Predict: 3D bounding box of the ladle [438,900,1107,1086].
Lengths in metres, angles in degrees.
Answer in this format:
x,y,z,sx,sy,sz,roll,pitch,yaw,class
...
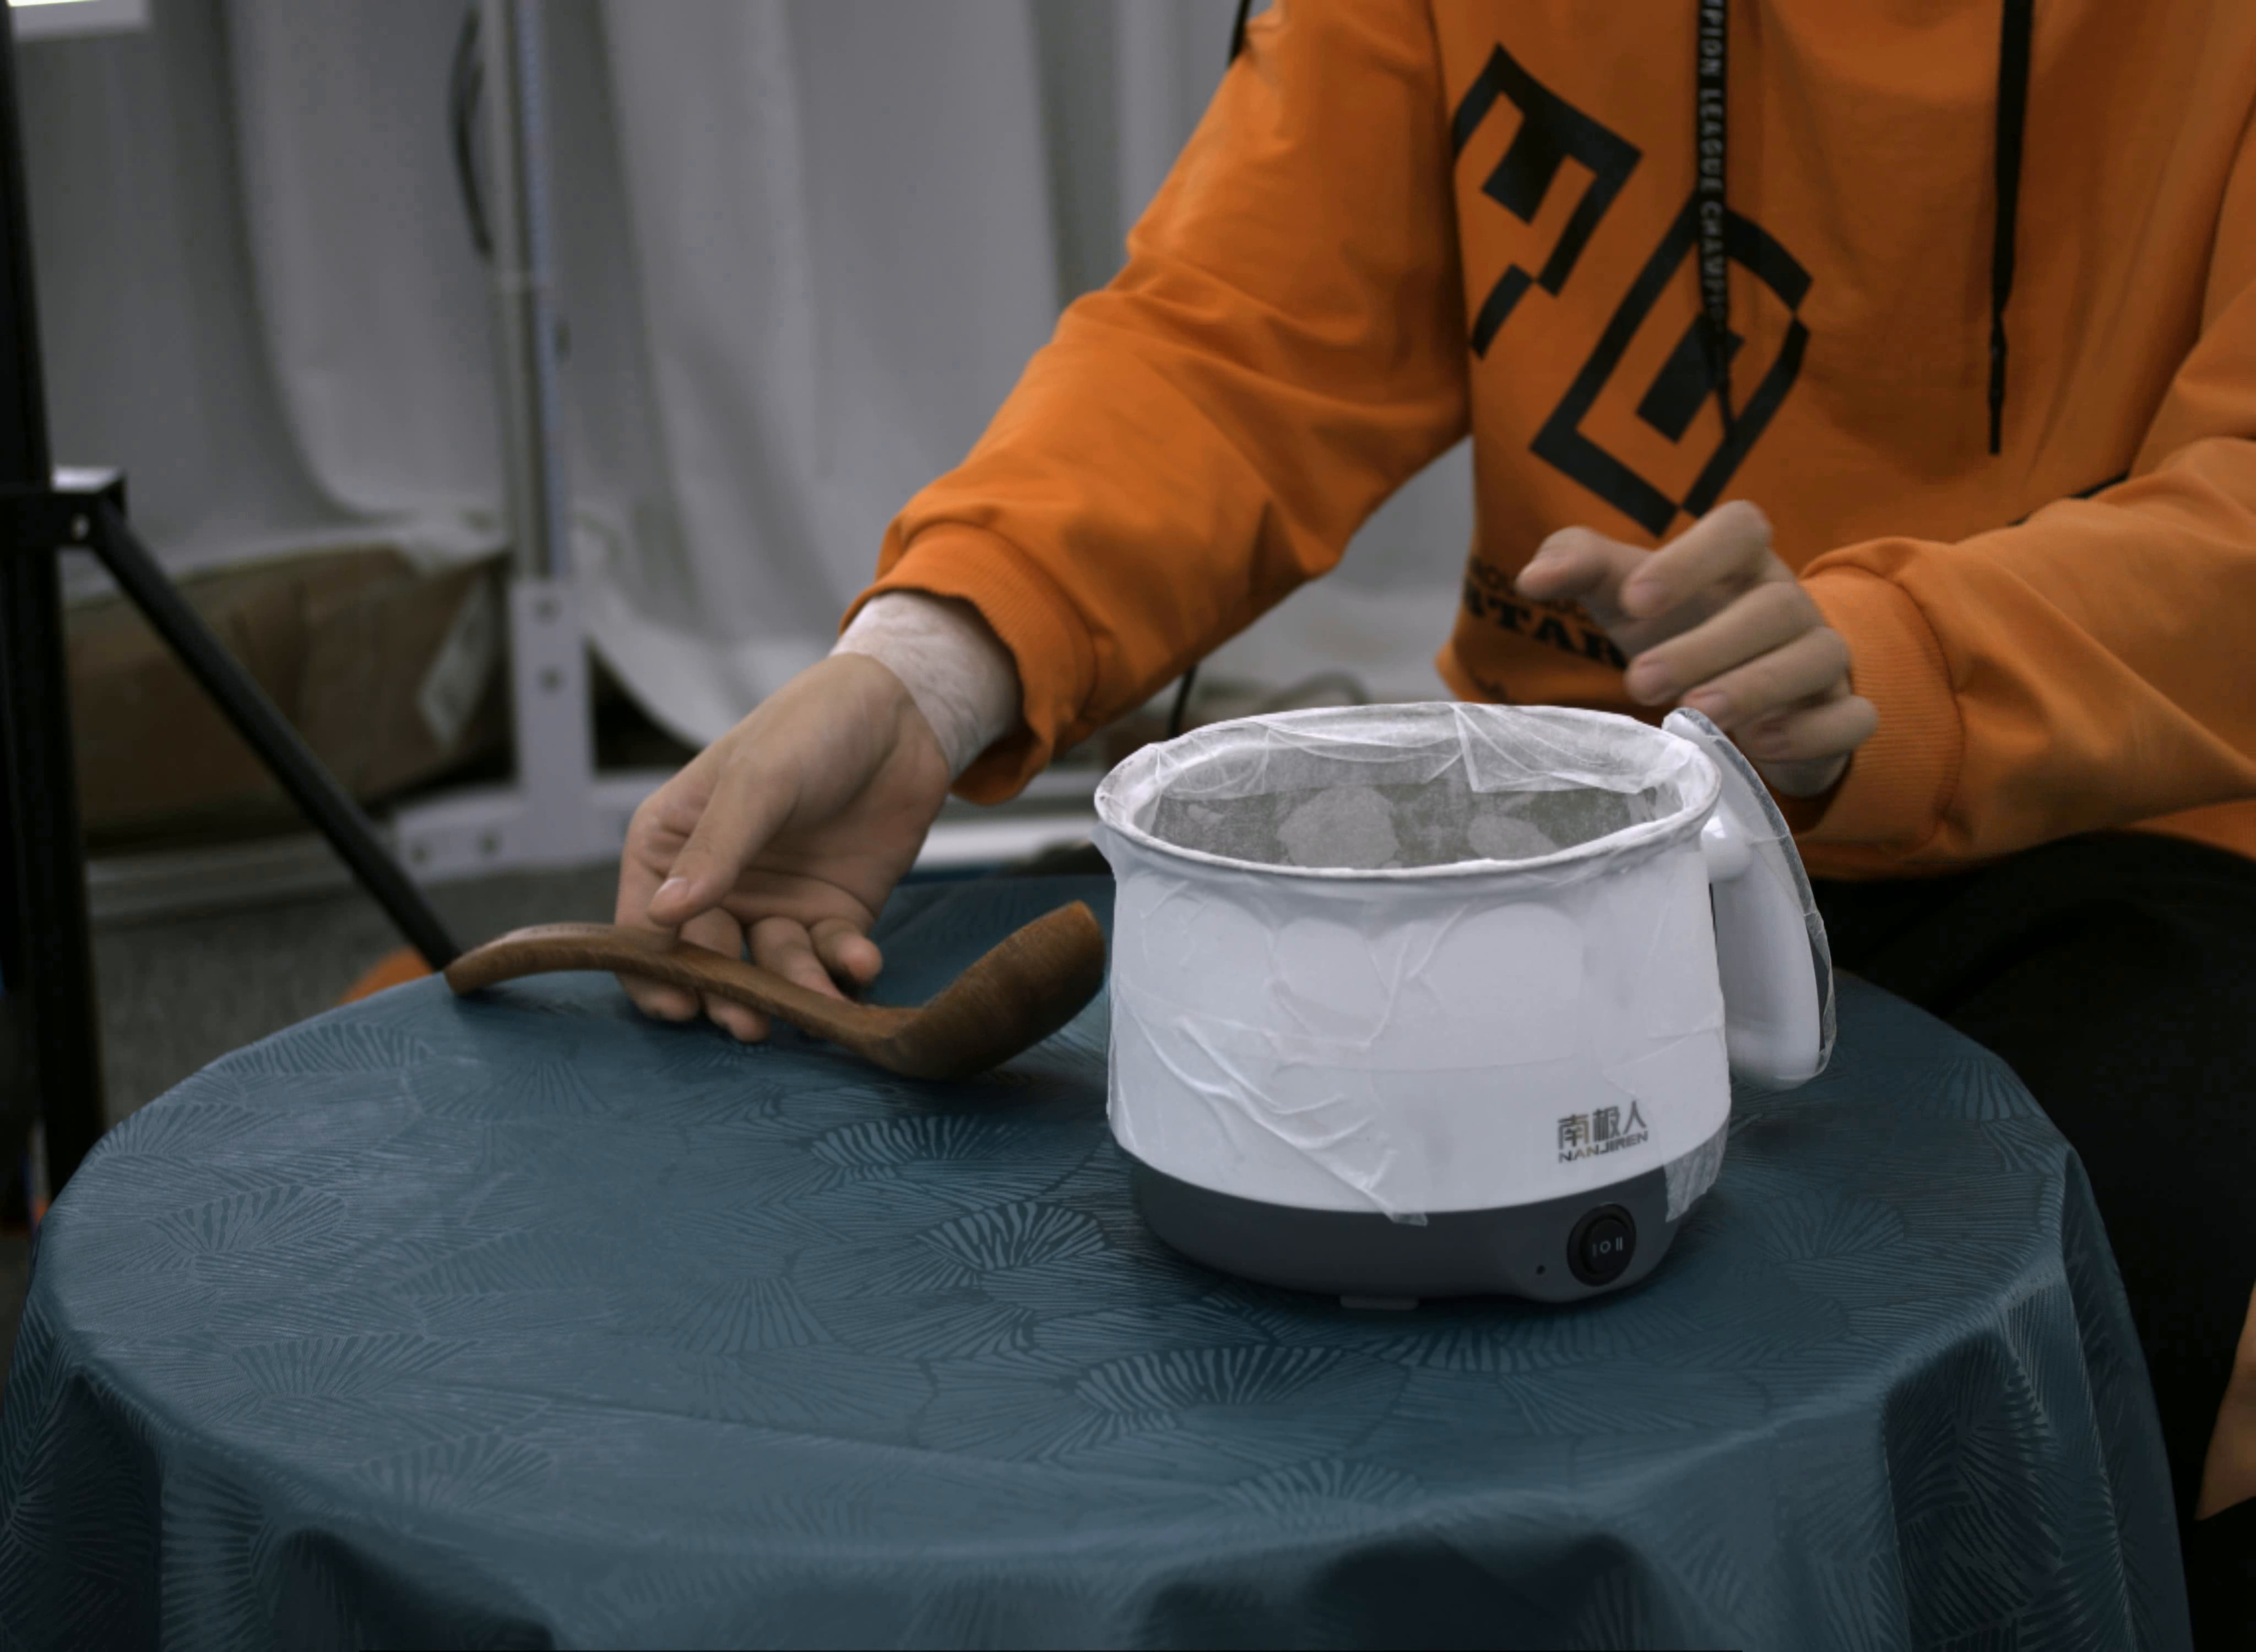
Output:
x,y,z,sx,sy,sz,roll,pitch,yaw,class
-0.120,0.040,1.702,0.265,0.065,0.075,9,15,36,ladle

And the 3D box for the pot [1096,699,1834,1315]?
x,y,z,sx,sy,sz,roll,pitch,yaw,class
0.104,0.044,1.514,0.228,0.136,0.183,-12,19,-31,pot
